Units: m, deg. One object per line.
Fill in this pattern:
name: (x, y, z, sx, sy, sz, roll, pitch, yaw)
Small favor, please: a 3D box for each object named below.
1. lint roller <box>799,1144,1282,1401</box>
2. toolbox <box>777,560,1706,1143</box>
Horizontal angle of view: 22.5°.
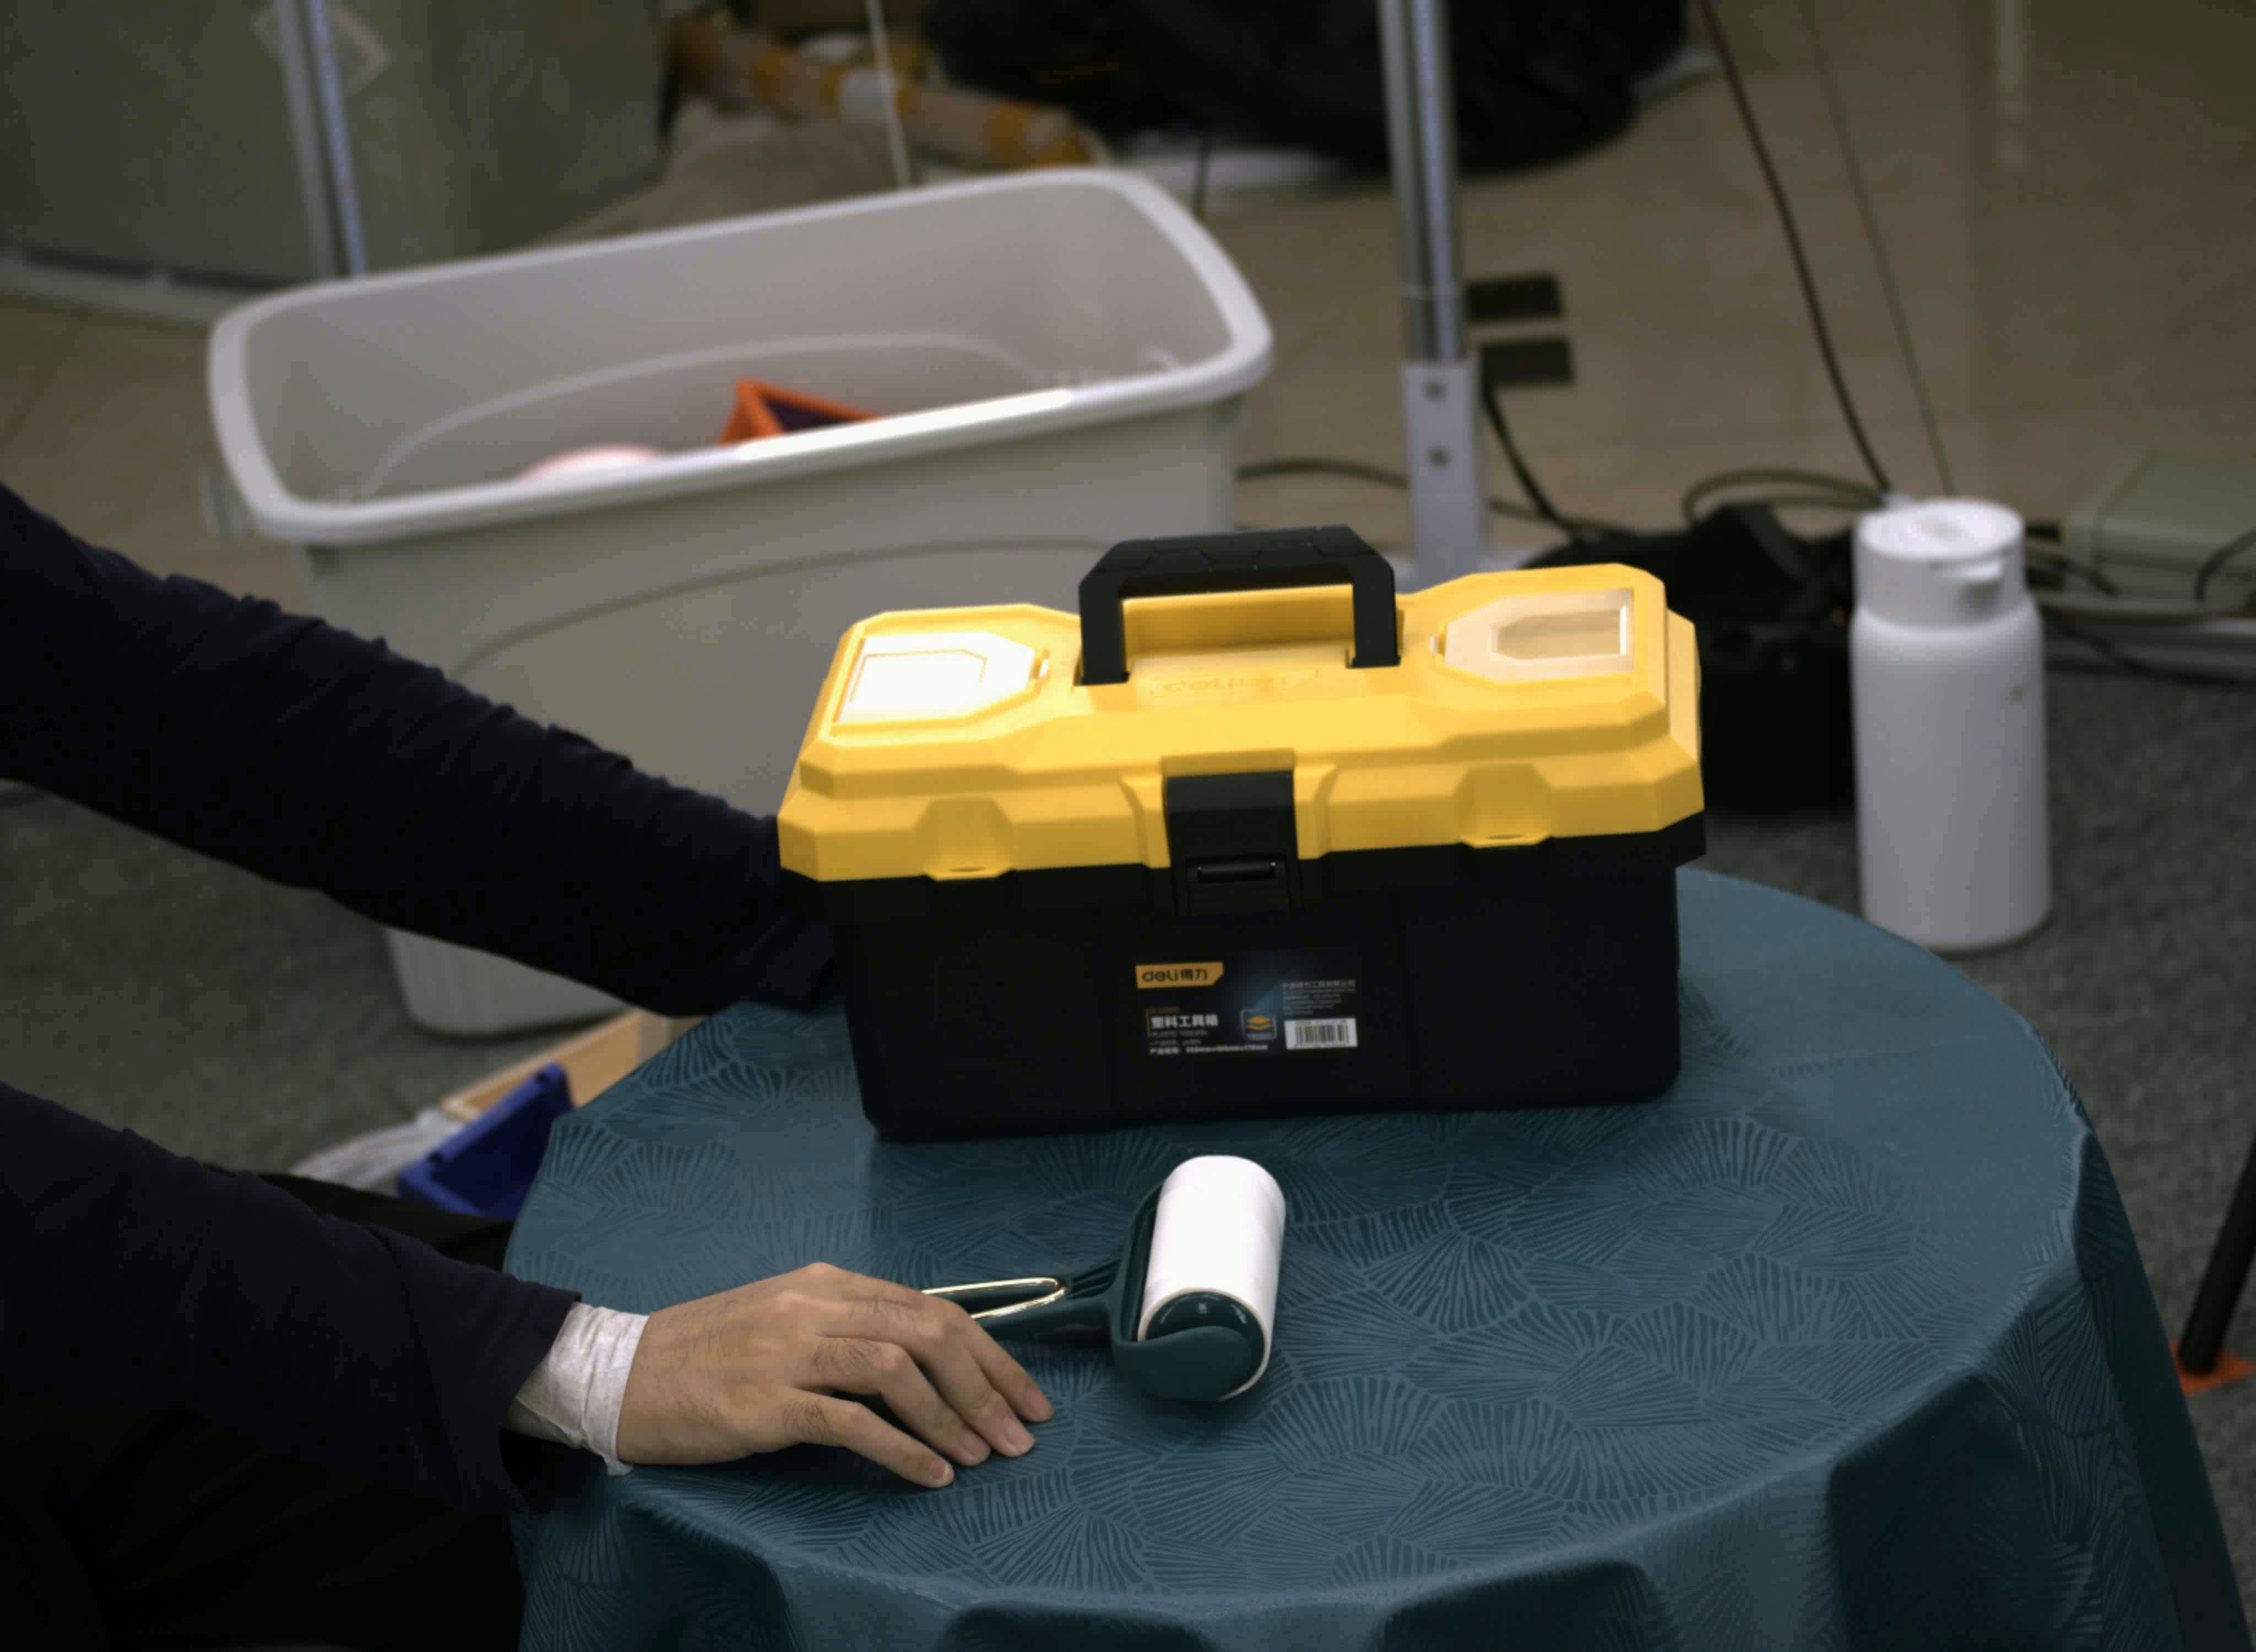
lint roller: (-0.035, 0.169, 2.048, 0.180, 0.049, 0.132, -7, 25, 8)
toolbox: (0.050, 0.012, 2.203, 0.351, 0.175, 0.178, -4, 25, 7)
